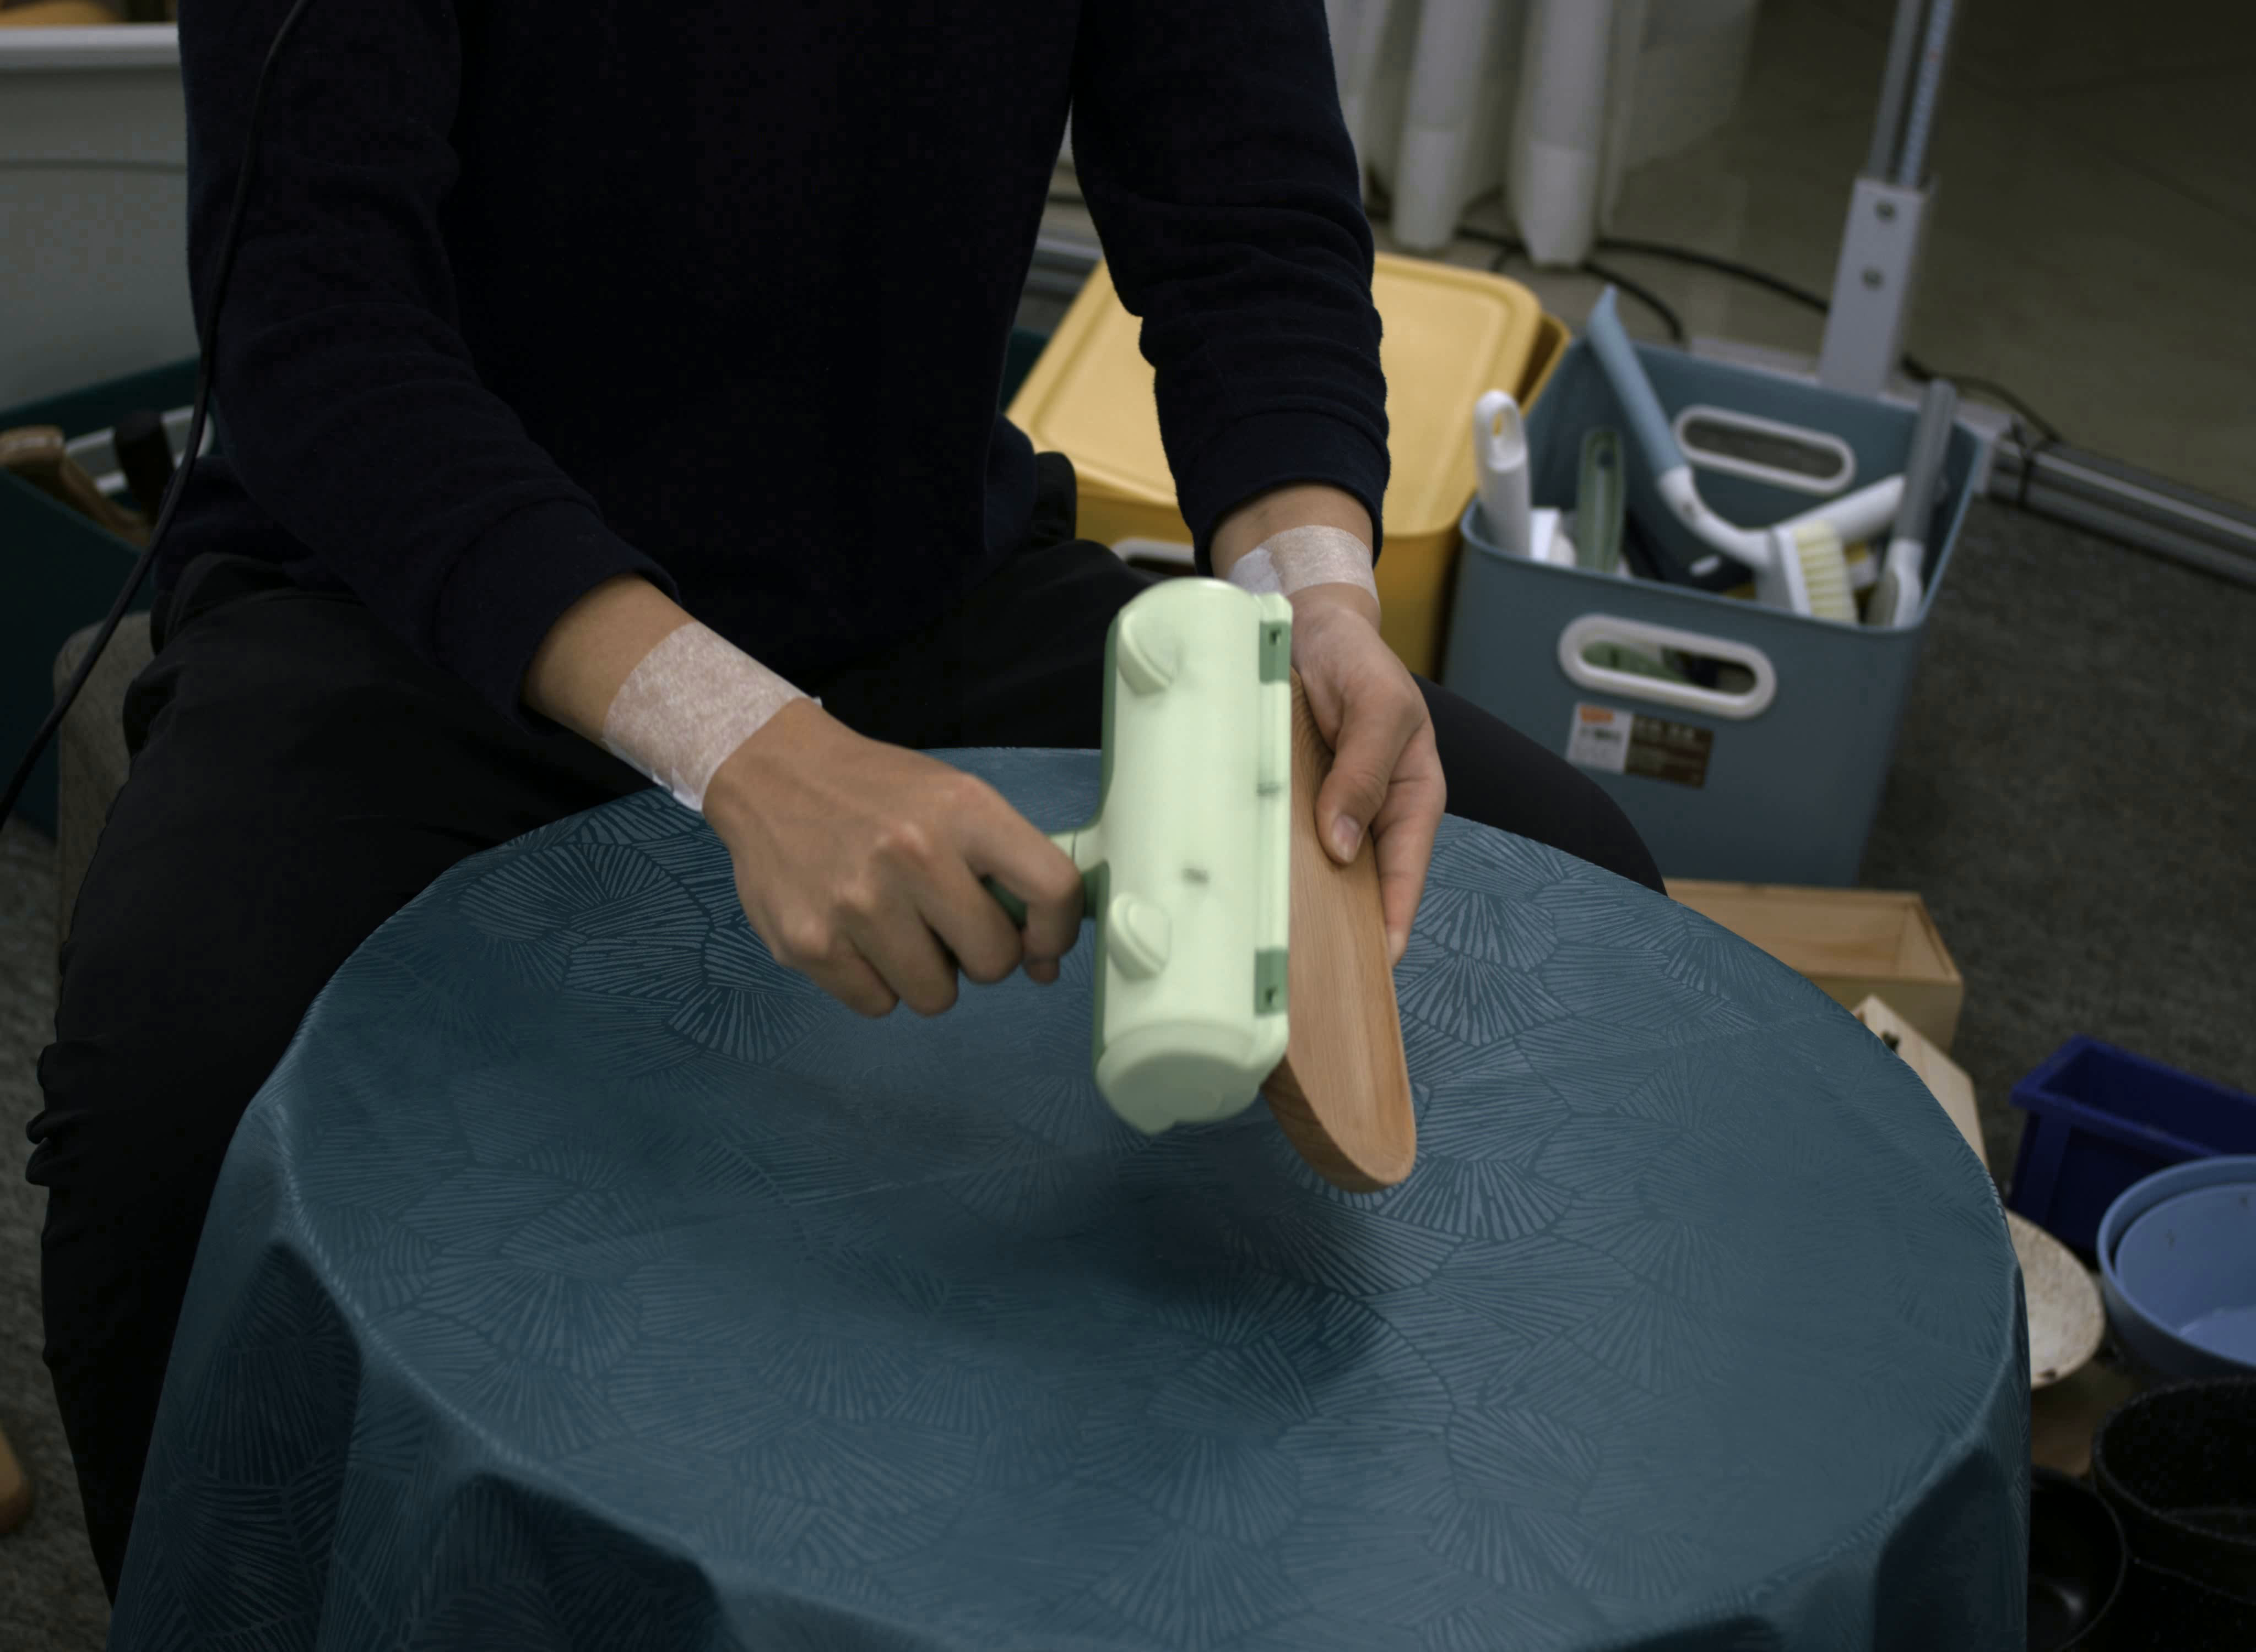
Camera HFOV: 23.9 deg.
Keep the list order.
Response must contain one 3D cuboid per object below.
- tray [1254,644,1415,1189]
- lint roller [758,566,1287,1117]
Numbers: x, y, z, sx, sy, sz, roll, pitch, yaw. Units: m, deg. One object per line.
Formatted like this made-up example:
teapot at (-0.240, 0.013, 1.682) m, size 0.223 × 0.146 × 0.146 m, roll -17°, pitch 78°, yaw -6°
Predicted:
tray at (0.057, 0.025, 1.798) m, size 0.020 × 0.101 × 0.233 m, roll -26°, pitch 43°, yaw 18°
lint roller at (-0.039, 0.004, 1.740) m, size 0.183 × 0.081 × 0.200 m, roll -6°, pitch 51°, yaw 8°
